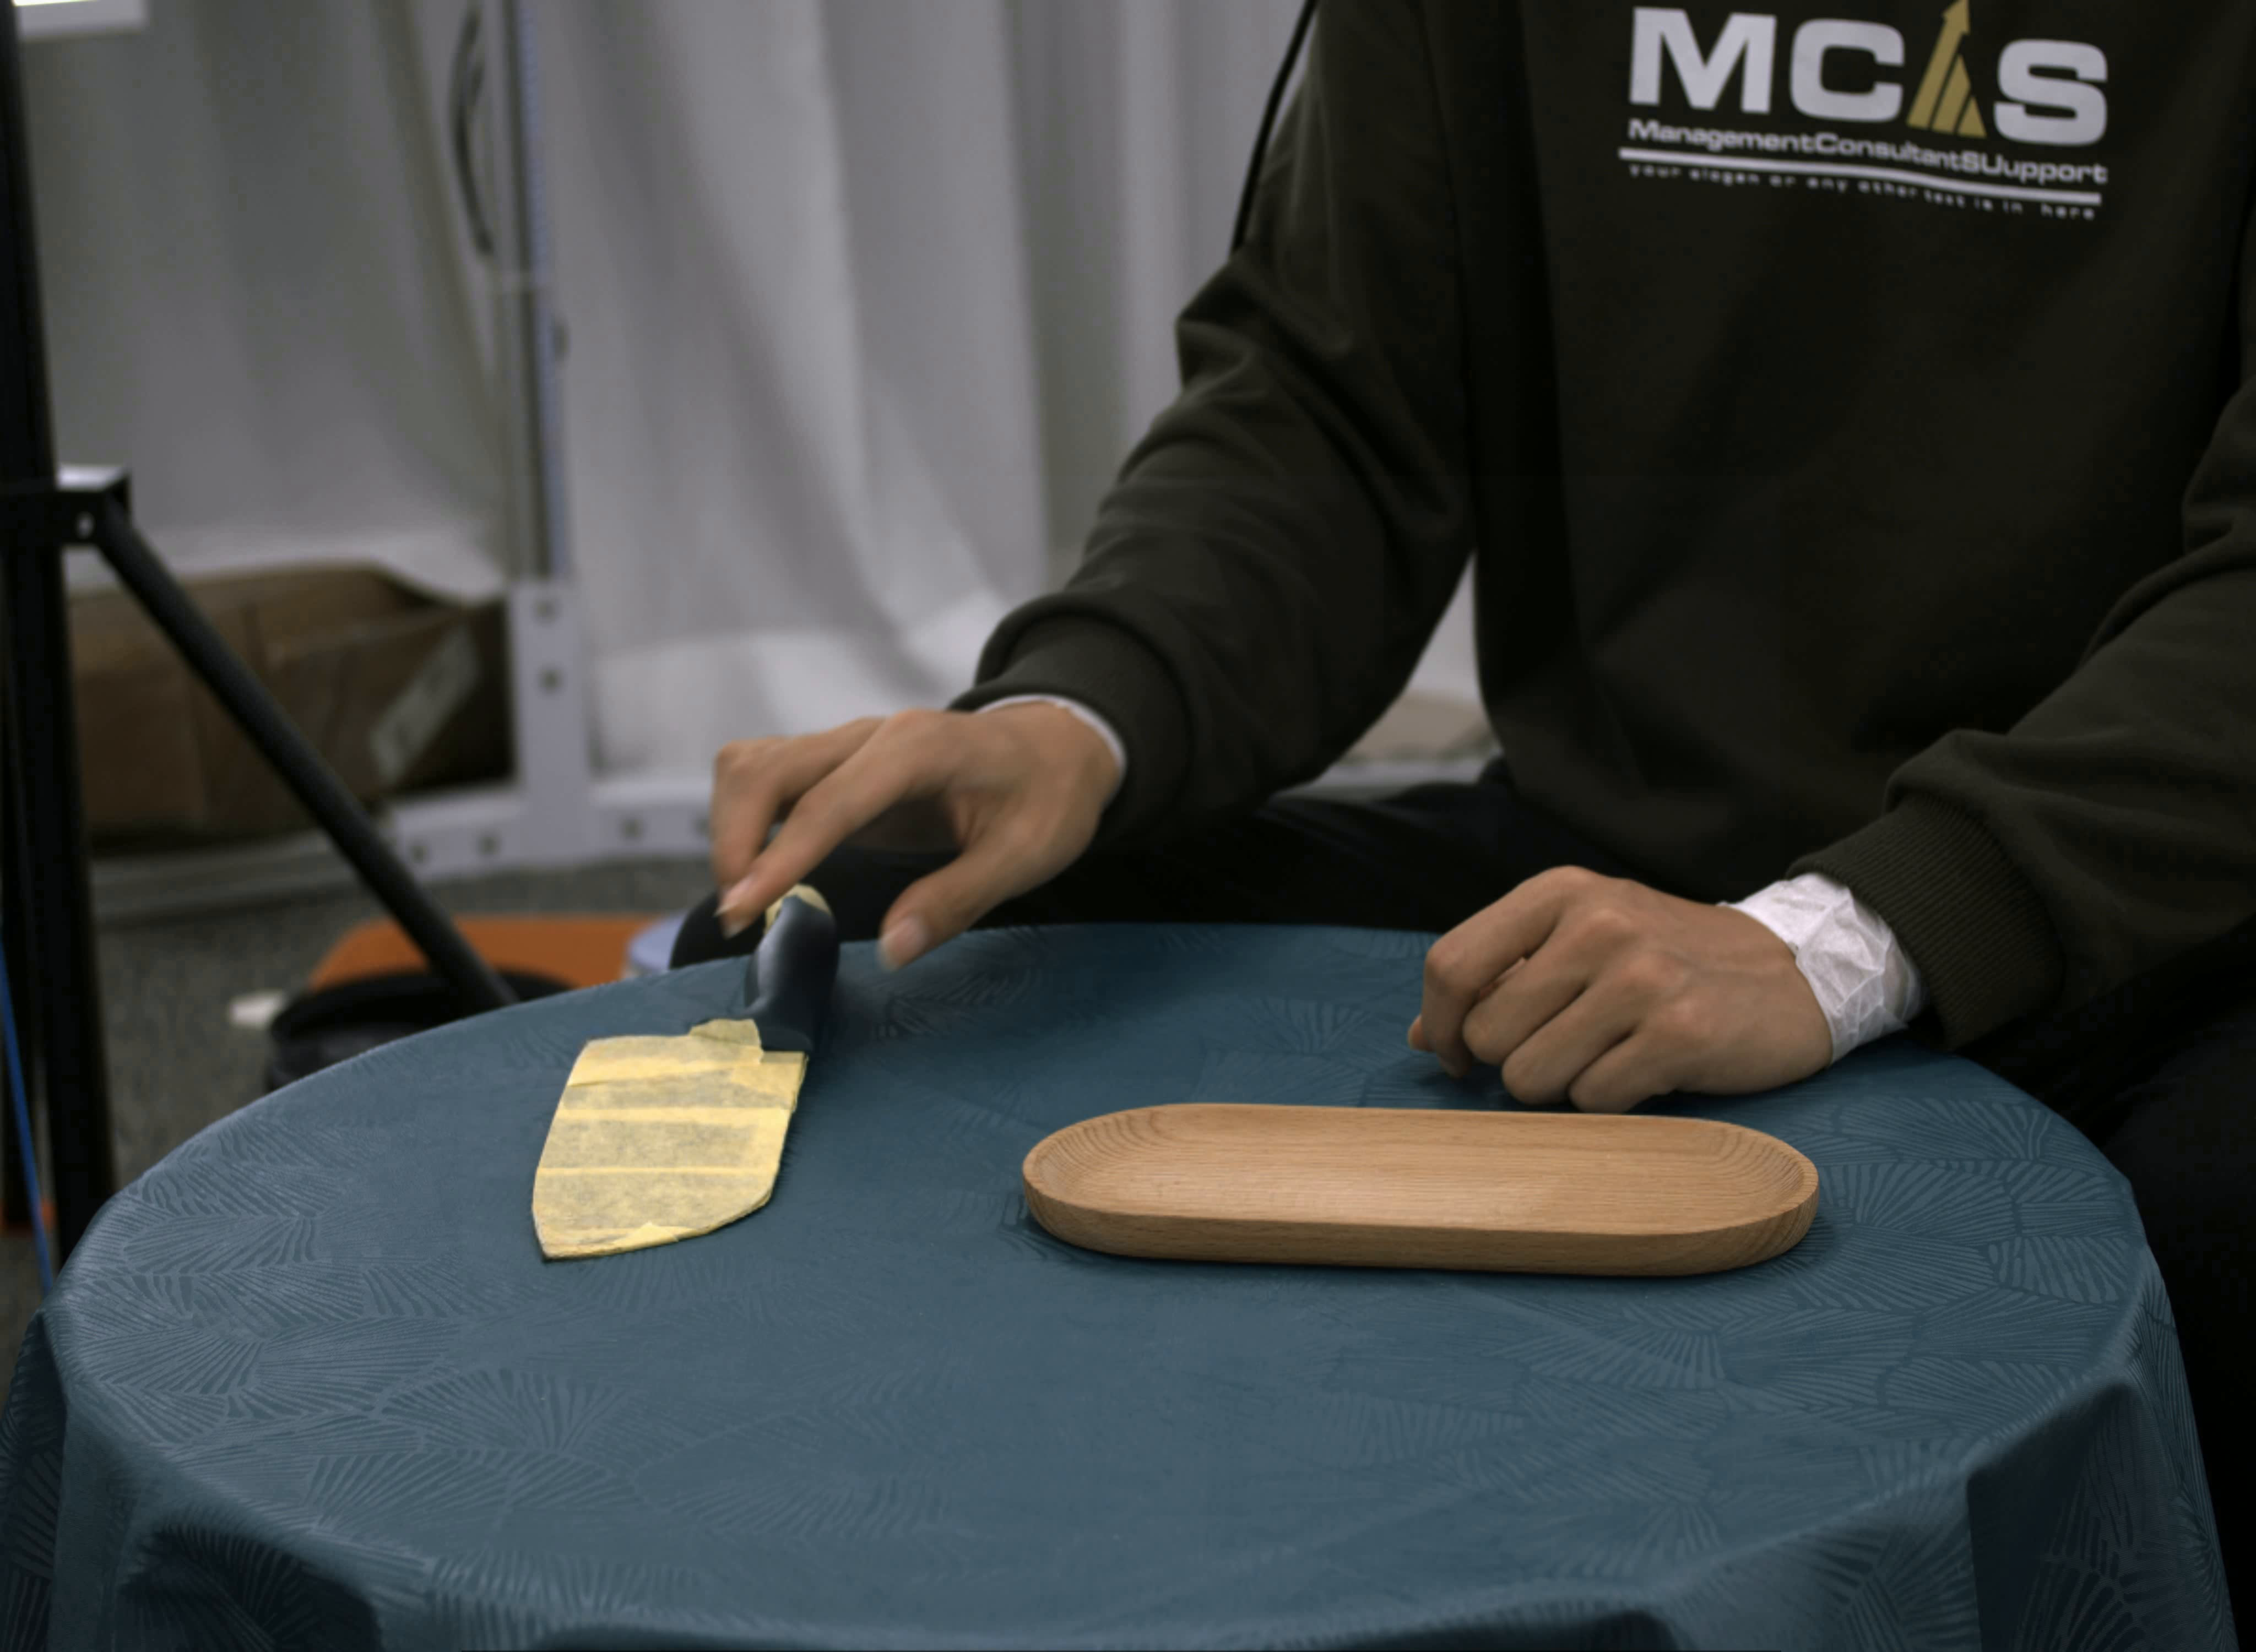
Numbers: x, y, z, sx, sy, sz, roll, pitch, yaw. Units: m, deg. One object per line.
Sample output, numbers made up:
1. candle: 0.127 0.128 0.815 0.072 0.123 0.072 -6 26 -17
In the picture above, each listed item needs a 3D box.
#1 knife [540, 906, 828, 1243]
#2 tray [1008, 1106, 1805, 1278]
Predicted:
1. knife: -0.135 0.077 1.664 0.081 0.027 0.289 3 17 5
2. tray: 0.080 0.106 1.528 0.232 0.020 0.101 0 14 13
